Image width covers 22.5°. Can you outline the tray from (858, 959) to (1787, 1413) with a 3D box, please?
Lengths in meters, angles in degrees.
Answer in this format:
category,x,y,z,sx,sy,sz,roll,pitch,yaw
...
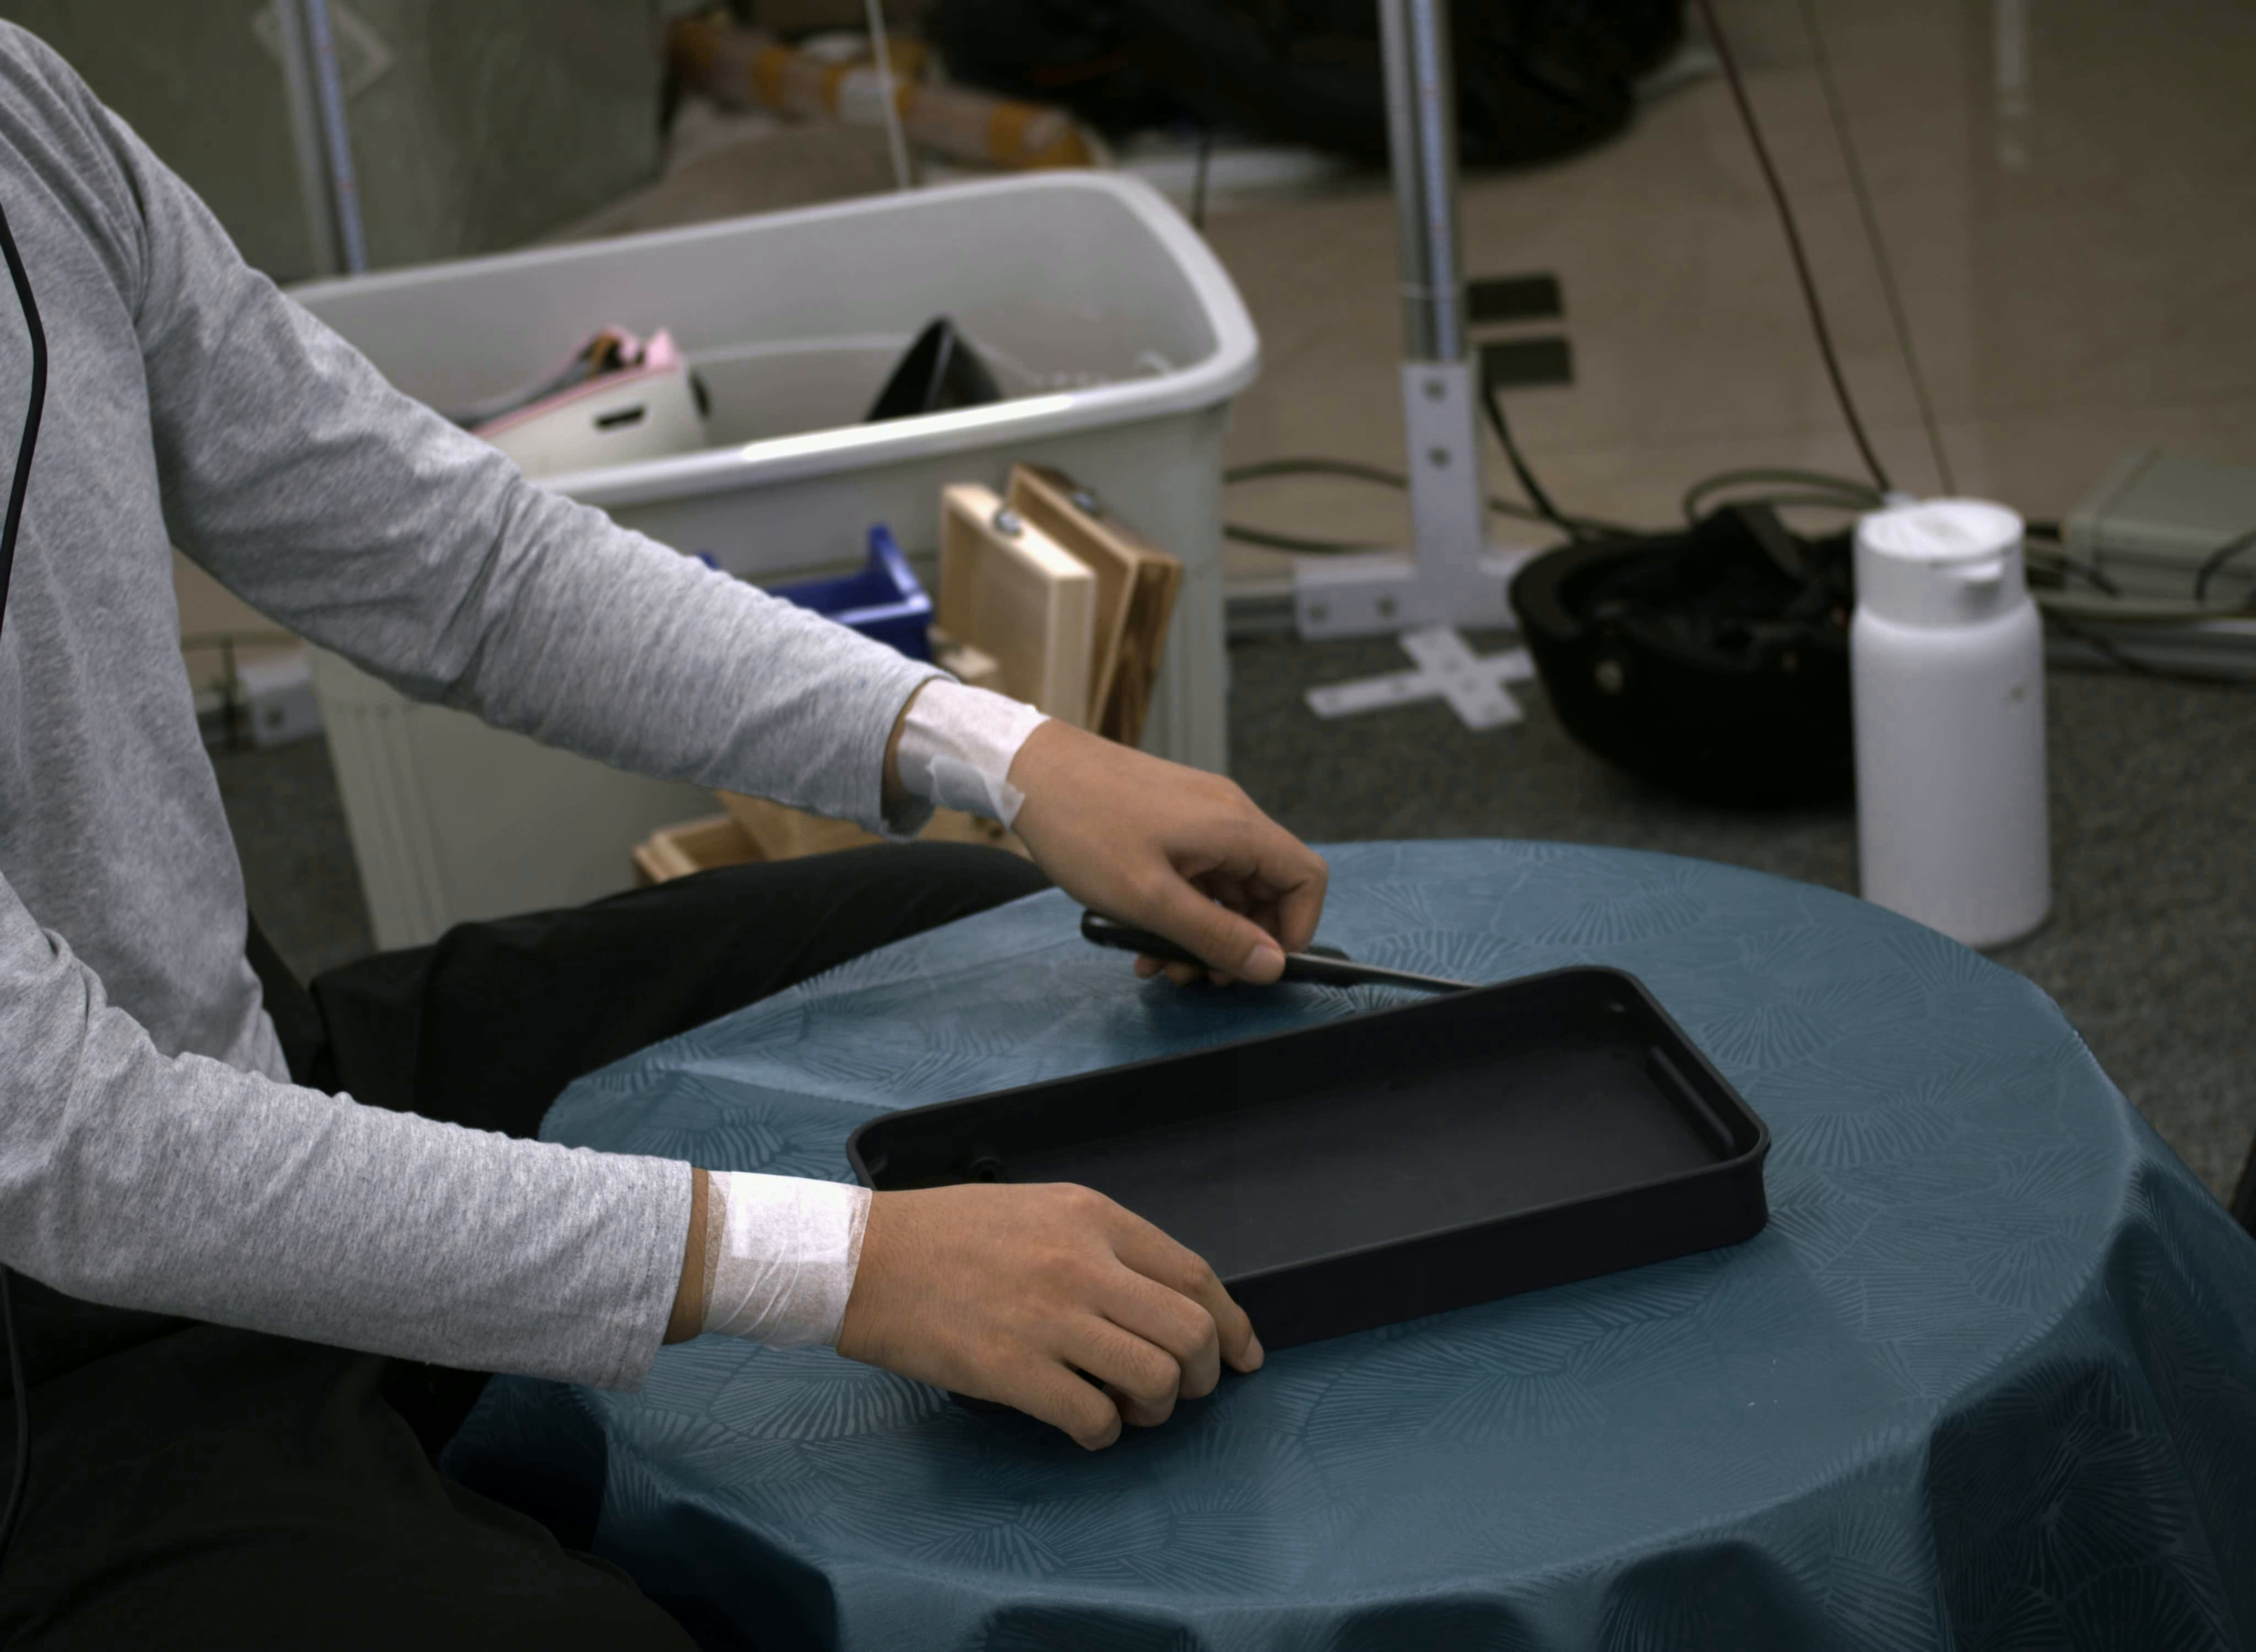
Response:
category,x,y,z,sx,sy,sz,roll,pitch,yaw
tray,0.071,0.130,2.110,0.317,0.037,0.182,-13,25,-12

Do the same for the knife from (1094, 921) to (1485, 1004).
category,x,y,z,sx,sy,sz,roll,pitch,yaw
knife,0.095,0.061,2.267,0.237,0.016,0.024,9,-11,19
